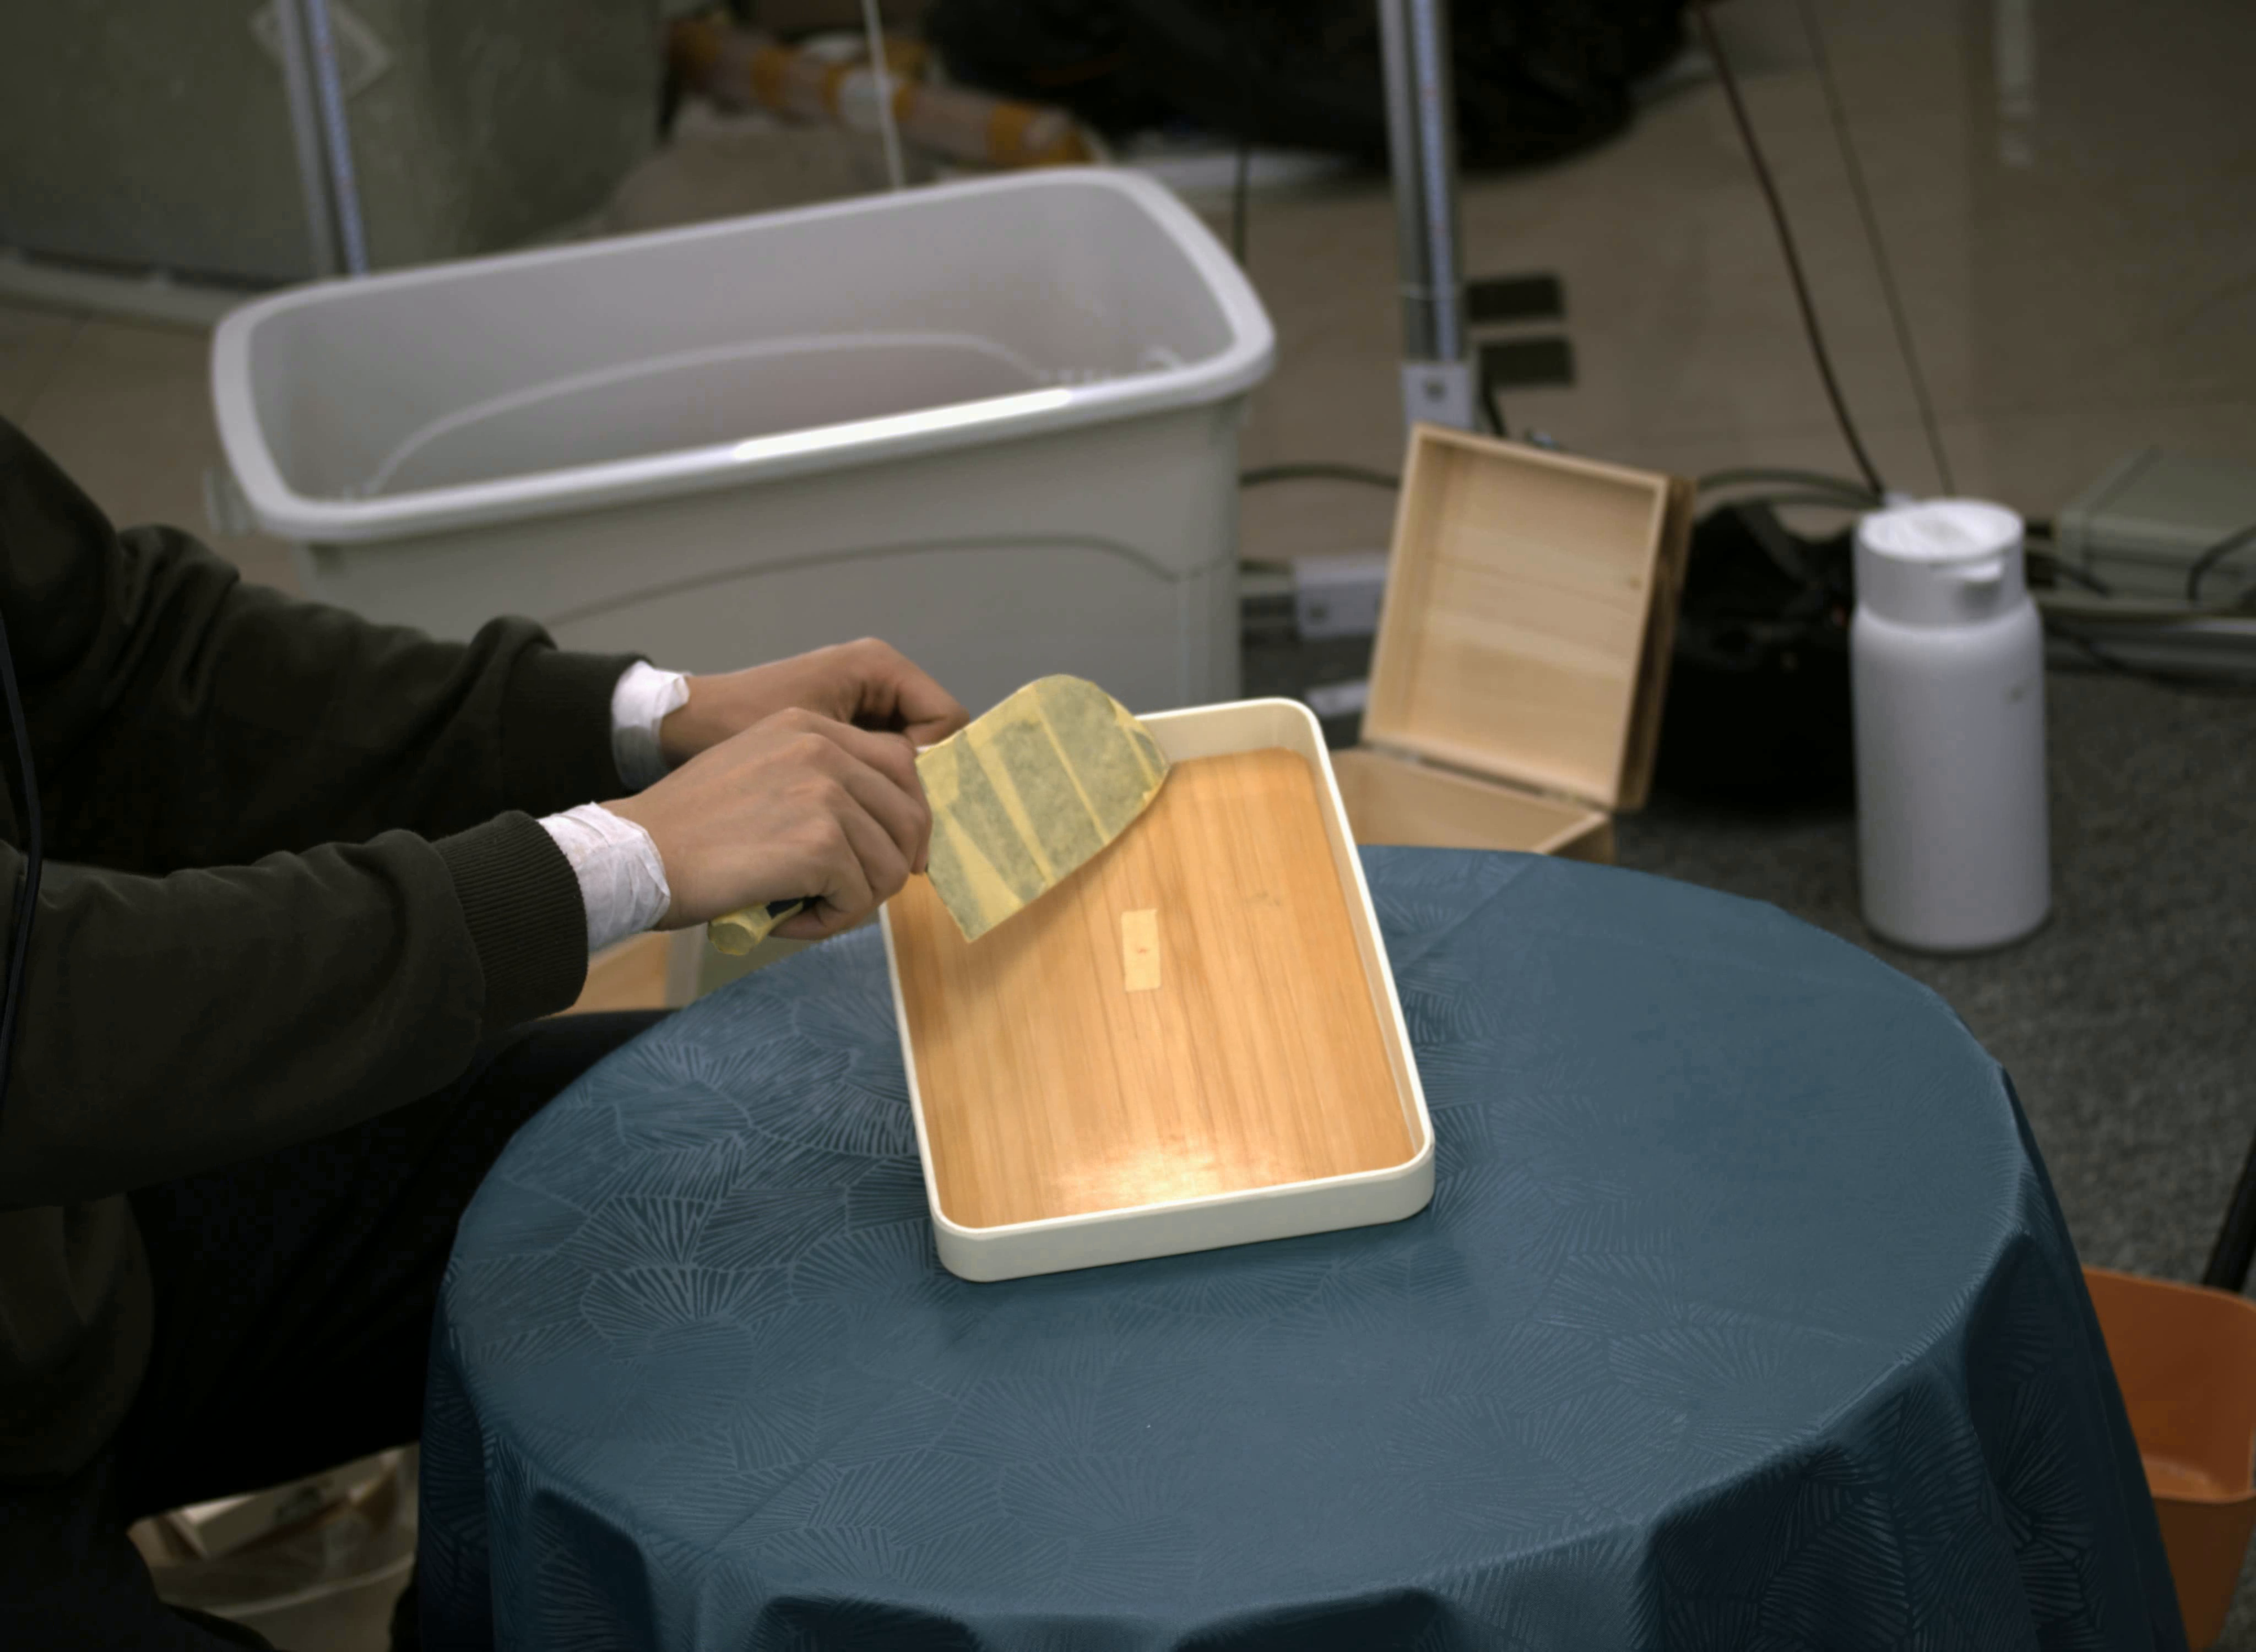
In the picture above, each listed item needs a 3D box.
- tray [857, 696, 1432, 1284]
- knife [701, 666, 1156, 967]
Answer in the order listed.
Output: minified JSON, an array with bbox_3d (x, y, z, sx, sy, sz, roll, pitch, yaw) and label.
[{"bbox_3d":[0.002,0.059,2.209,0.191,0.028,0.295,-9,39,-3],"label":"tray"},{"bbox_3d":[-0.070,0.004,2.201,0.027,0.081,0.287,-26,3,40],"label":"knife"}]
